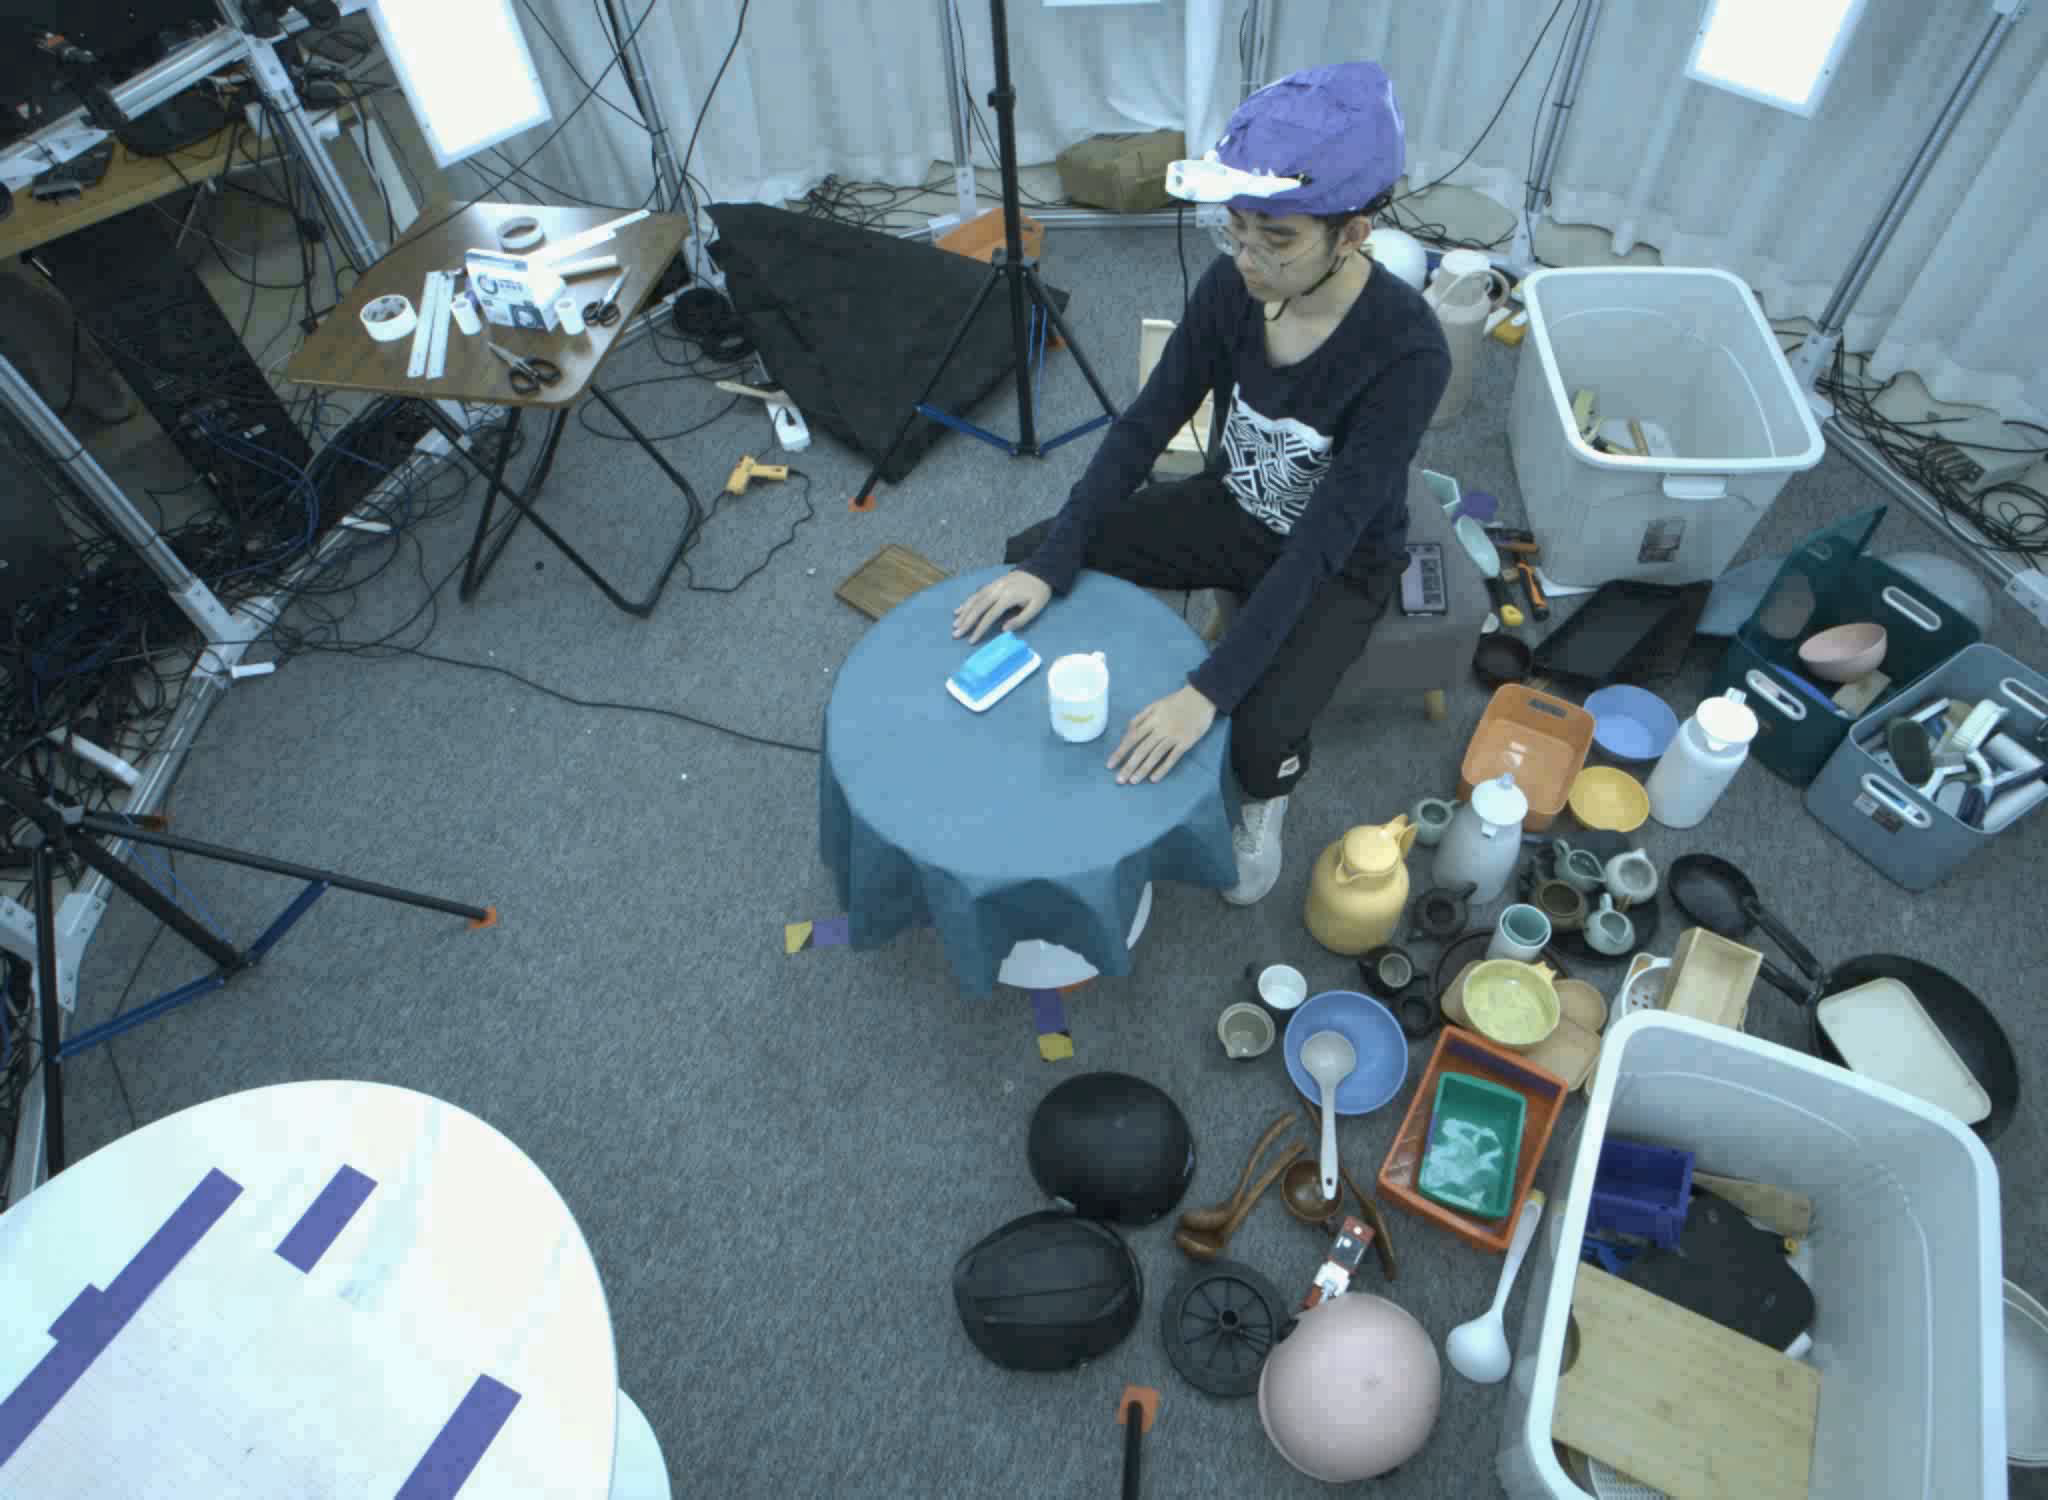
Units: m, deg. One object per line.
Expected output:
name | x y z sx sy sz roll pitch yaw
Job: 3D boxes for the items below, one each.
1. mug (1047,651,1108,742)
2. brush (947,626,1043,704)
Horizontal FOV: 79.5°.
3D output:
mug | 0.085 -0.085 1.774 0.084 0.103 0.118 19 57 18
brush | -0.044 -0.135 1.840 0.145 0.056 0.082 -39 64 -20
